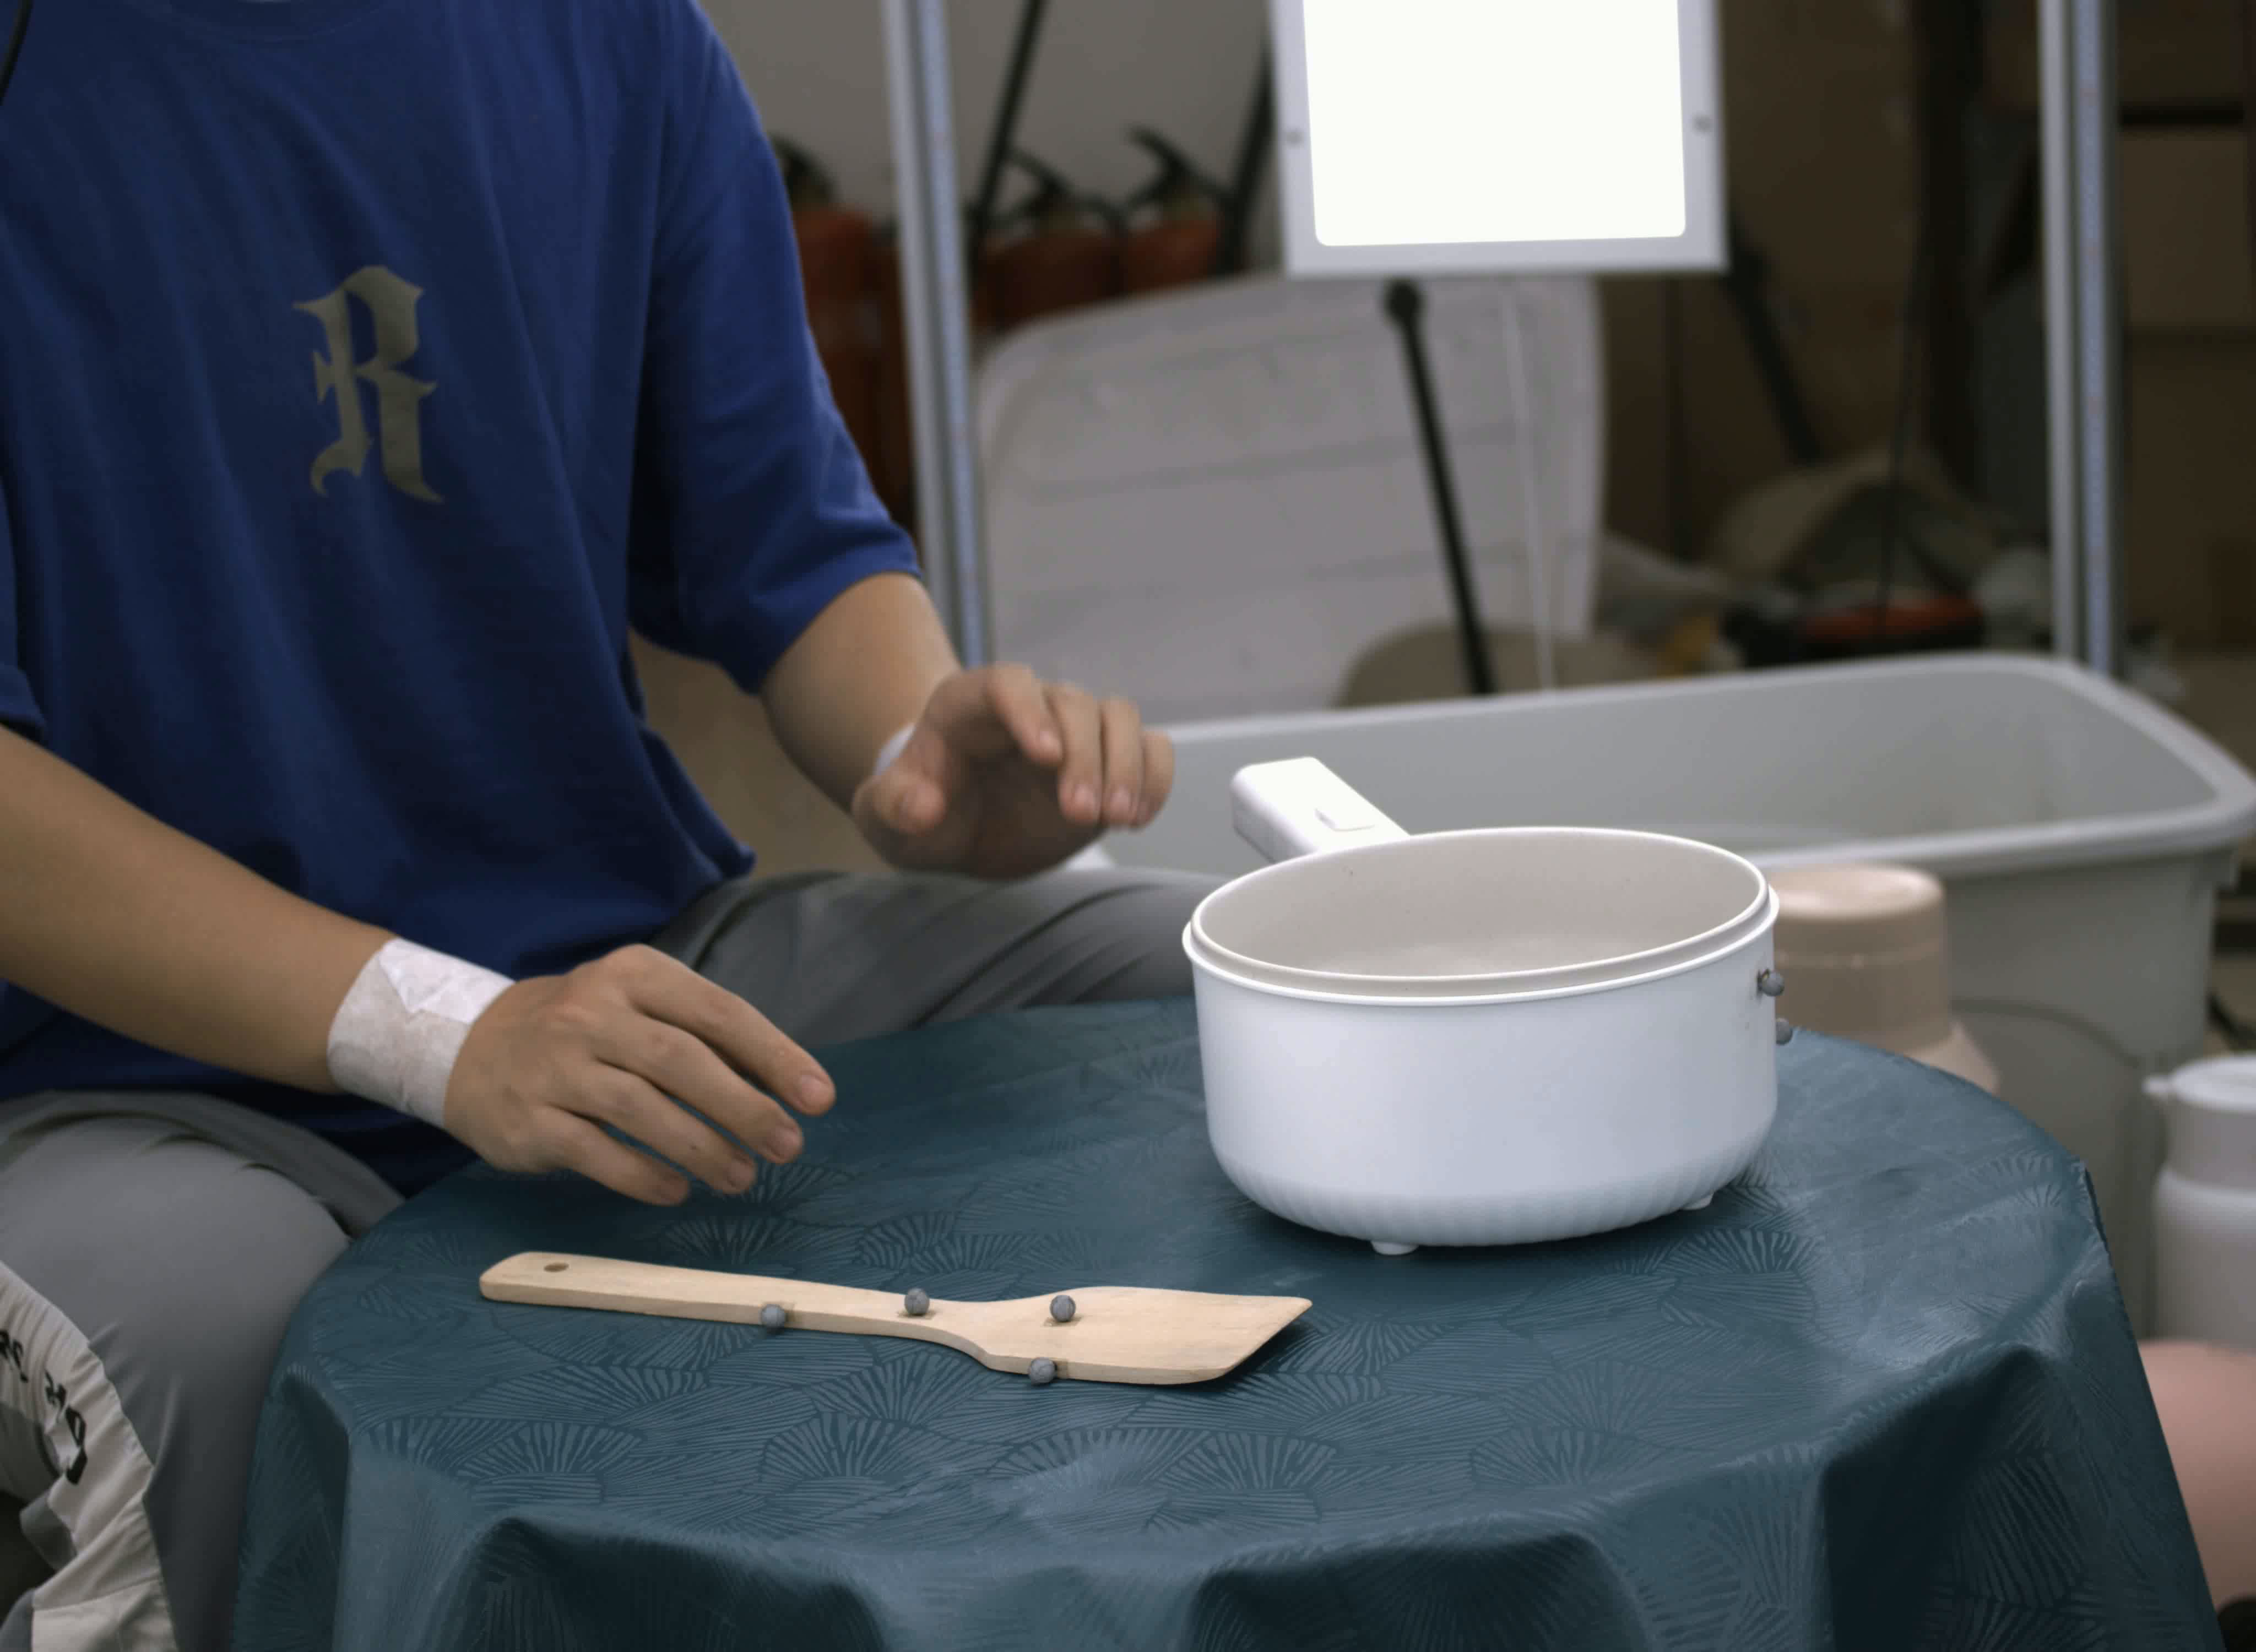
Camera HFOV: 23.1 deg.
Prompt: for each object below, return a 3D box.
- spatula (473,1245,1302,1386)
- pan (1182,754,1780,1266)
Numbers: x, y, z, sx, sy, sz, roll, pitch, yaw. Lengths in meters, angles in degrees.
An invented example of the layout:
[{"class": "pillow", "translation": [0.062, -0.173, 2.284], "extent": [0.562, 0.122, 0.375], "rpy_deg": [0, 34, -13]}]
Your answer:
[{"class": "spatula", "translation": [-0.087, 0.156, 1.789], "extent": [0.298, 0.011, 0.071], "rpy_deg": [3, 17, 29]}, {"class": "pan", "translation": [0.104, 0.059, 1.932], "extent": [0.199, 0.102, 0.358], "rpy_deg": [-10, 15, -12]}]
